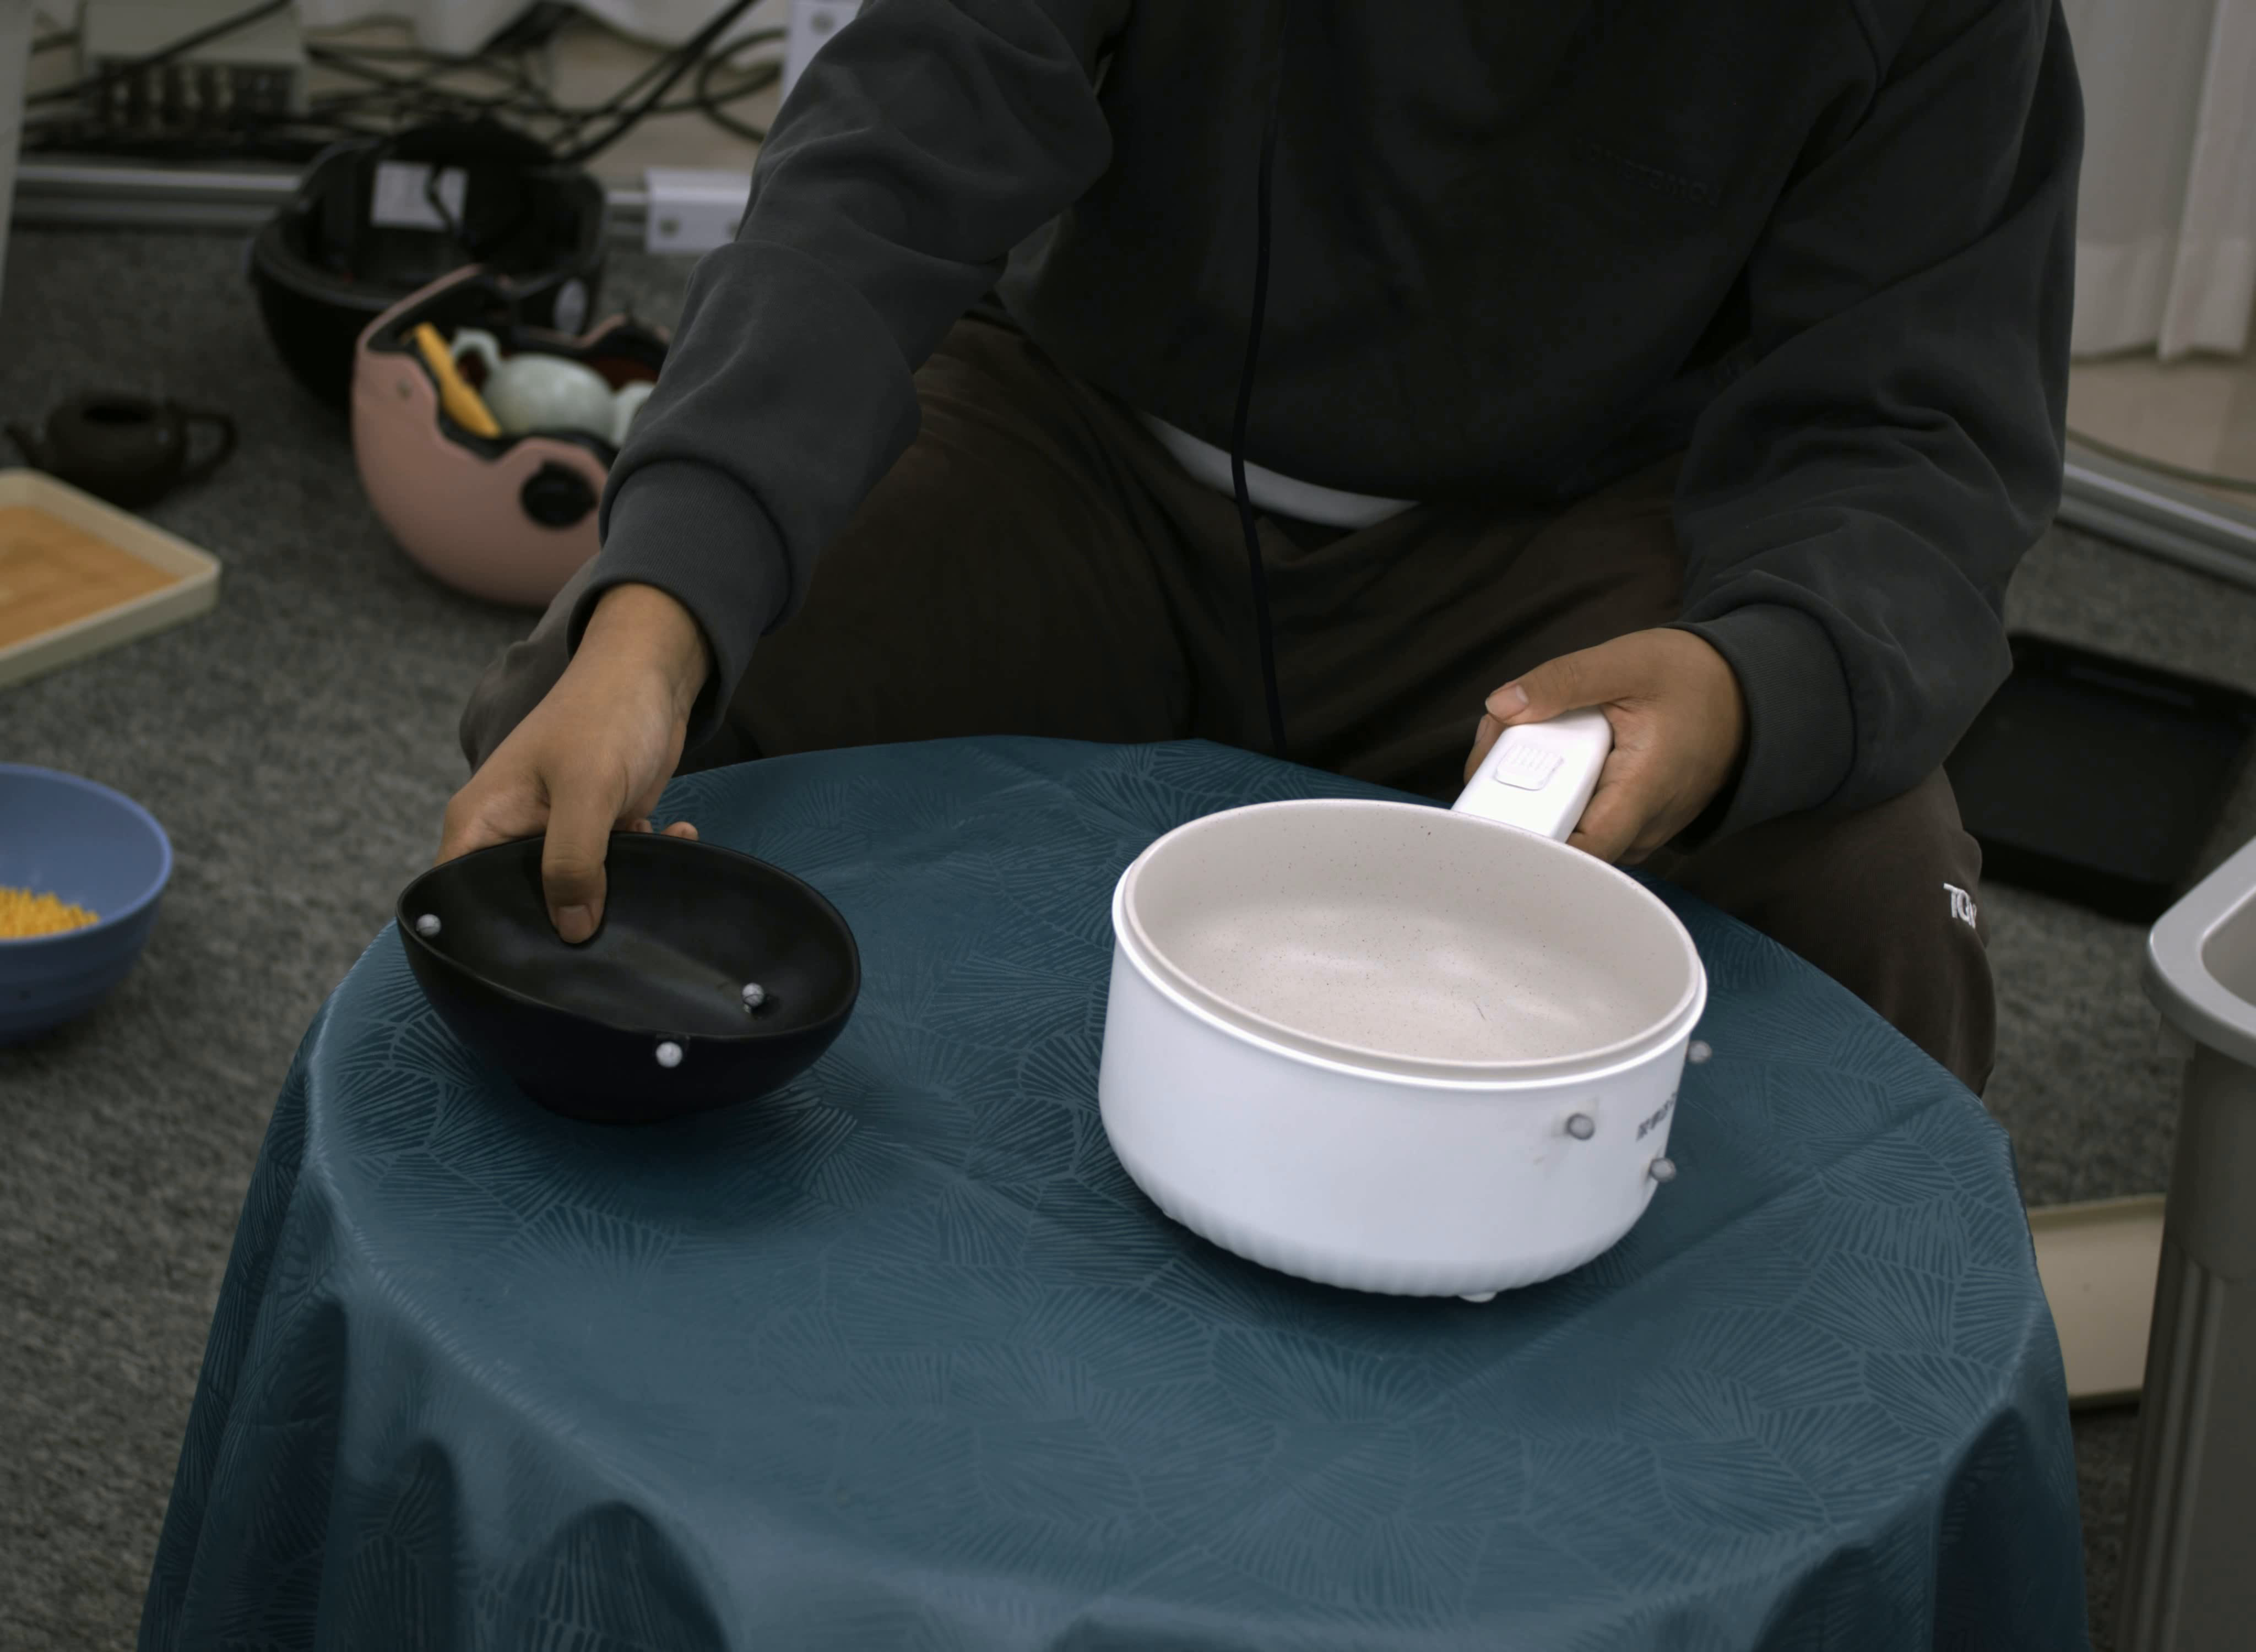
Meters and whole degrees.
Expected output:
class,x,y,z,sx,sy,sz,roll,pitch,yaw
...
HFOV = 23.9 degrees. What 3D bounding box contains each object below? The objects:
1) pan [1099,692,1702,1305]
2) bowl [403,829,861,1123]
class,x,y,z,sx,sy,sz,roll,pitch,yaw
pan,0.112,0.055,1.872,0.201,0.102,0.355,12,24,15
bowl,-0.173,0.059,1.820,0.171,0.066,0.137,19,29,25
